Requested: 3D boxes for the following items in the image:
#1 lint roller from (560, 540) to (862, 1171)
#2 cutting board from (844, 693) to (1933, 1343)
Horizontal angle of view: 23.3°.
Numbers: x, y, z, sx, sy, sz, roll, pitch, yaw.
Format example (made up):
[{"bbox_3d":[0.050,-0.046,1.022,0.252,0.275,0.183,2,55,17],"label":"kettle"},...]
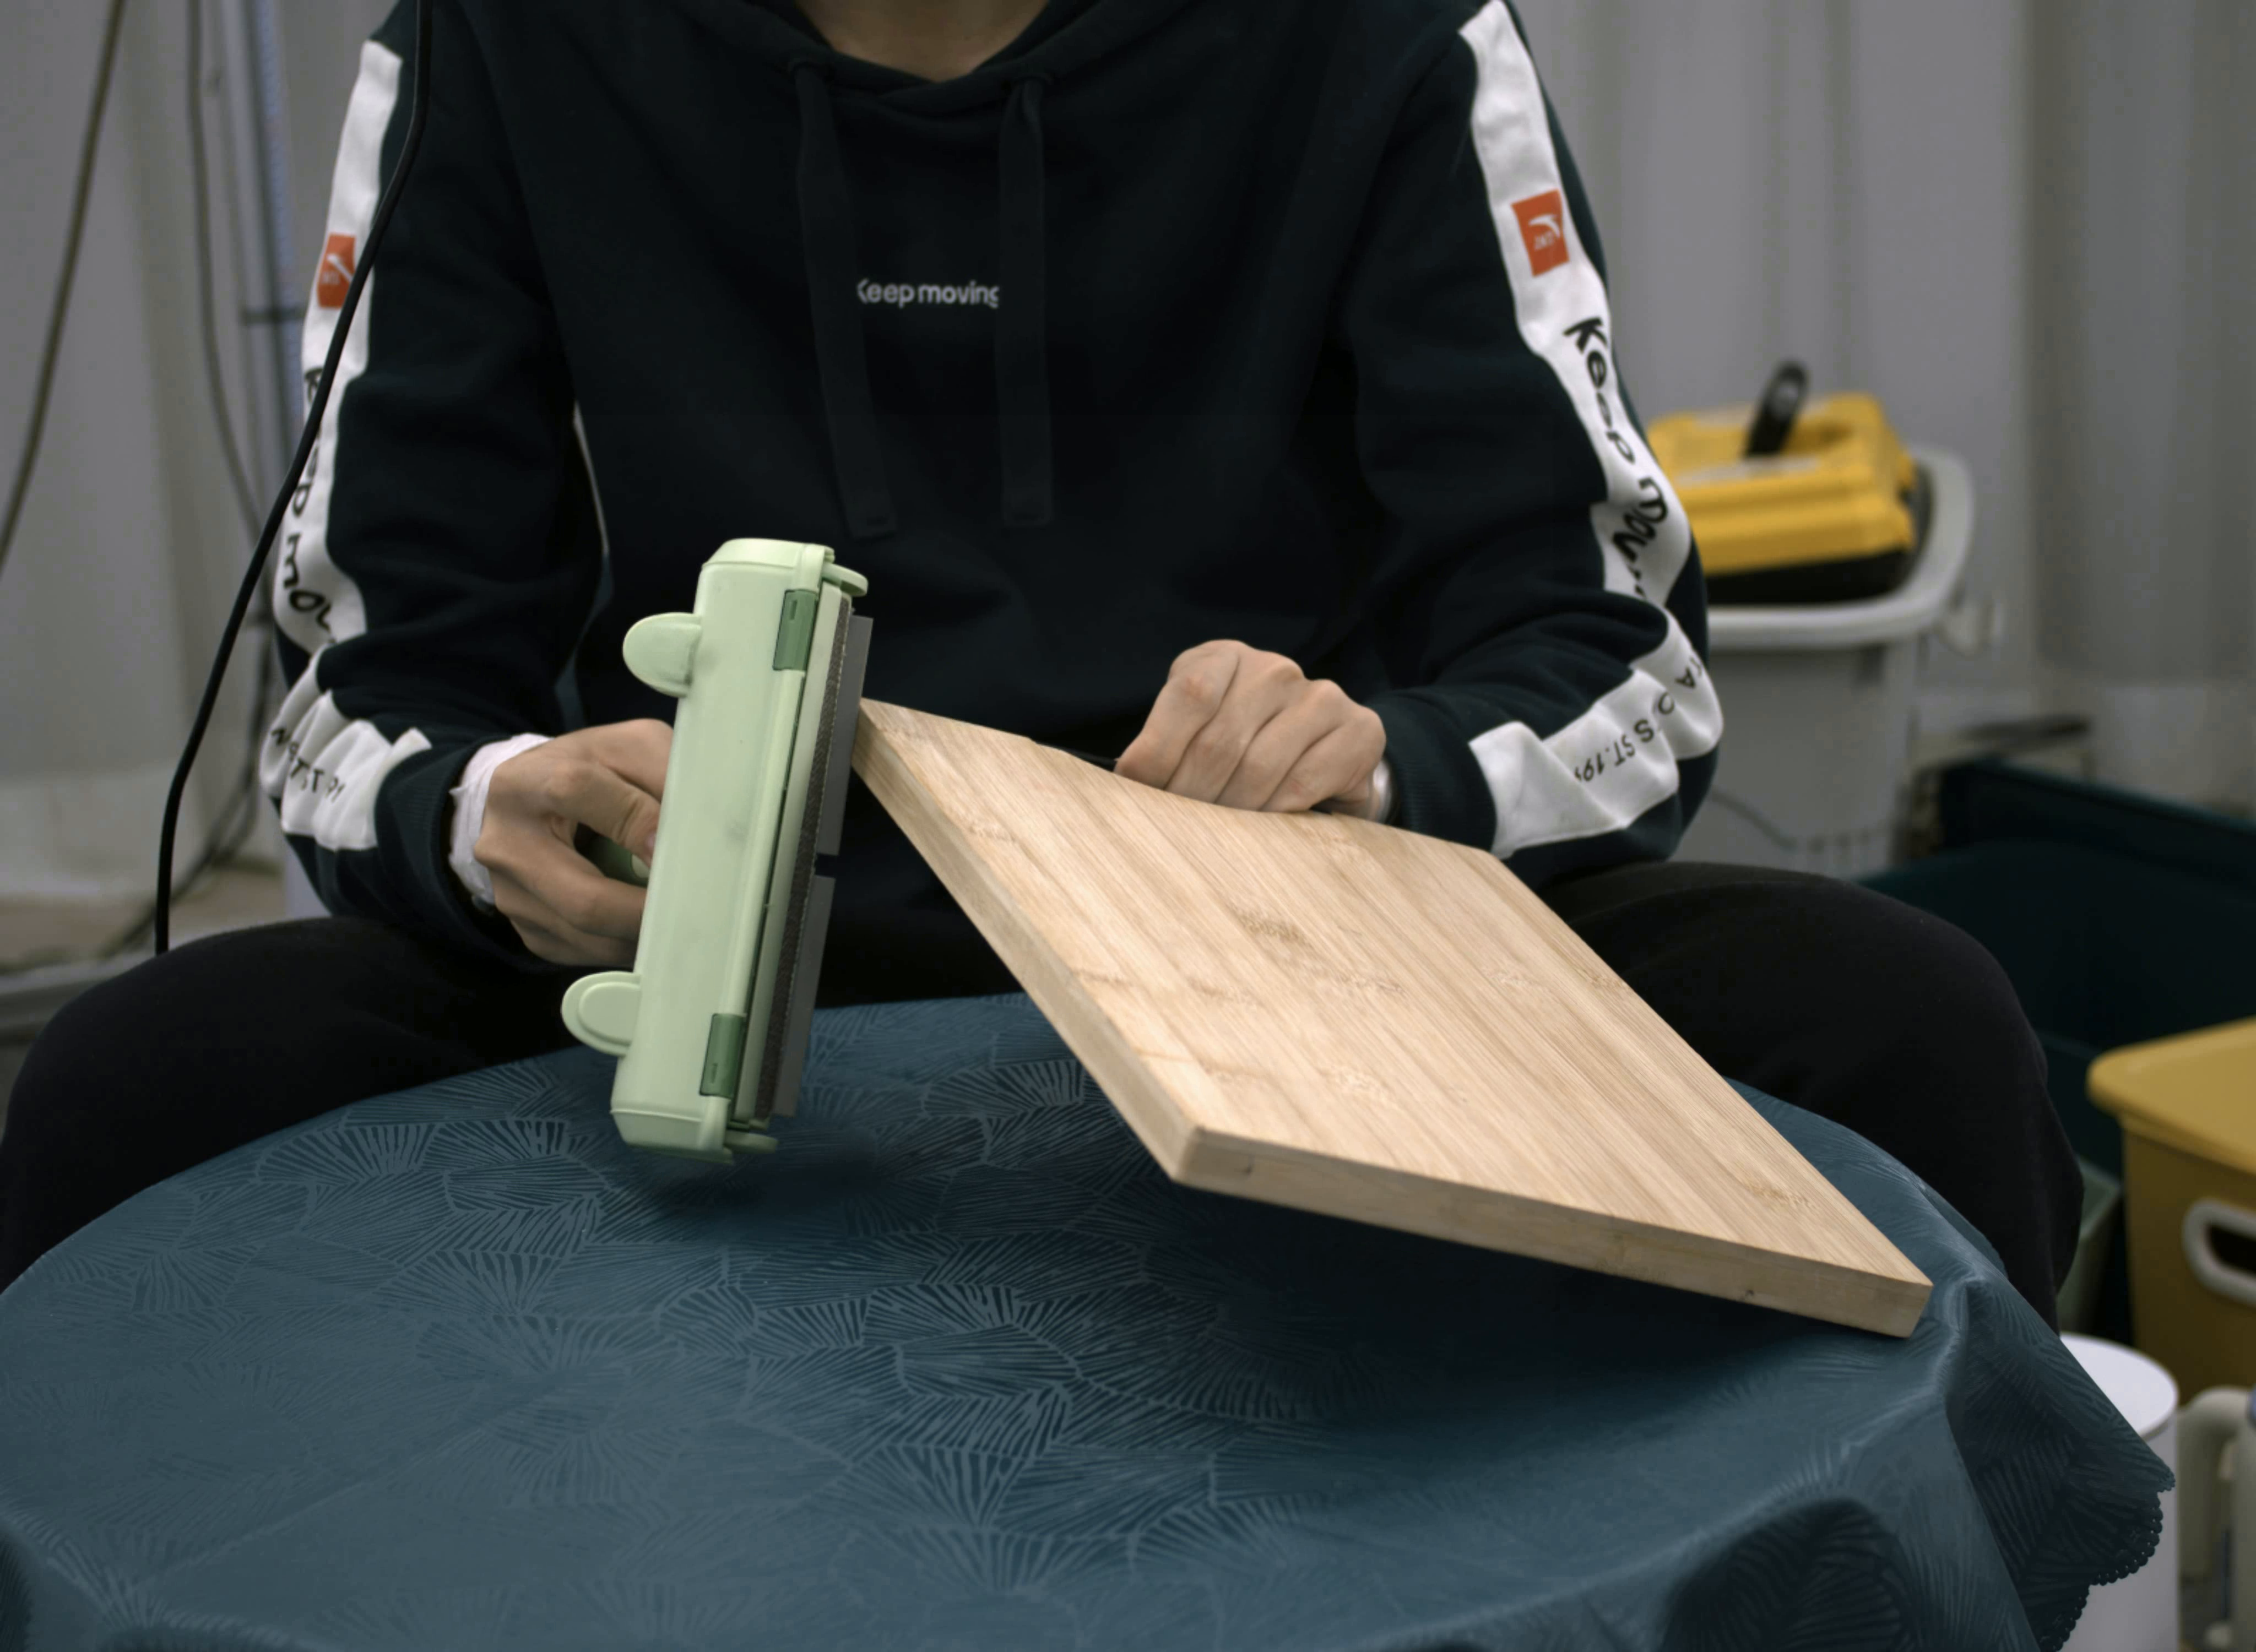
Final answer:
[{"bbox_3d":[-0.160,0.009,1.777,0.081,0.200,0.184,14,-10,-32],"label":"lint roller"},{"bbox_3d":[0.066,0.052,1.658,0.248,0.023,0.352,14,16,-24],"label":"cutting board"}]
